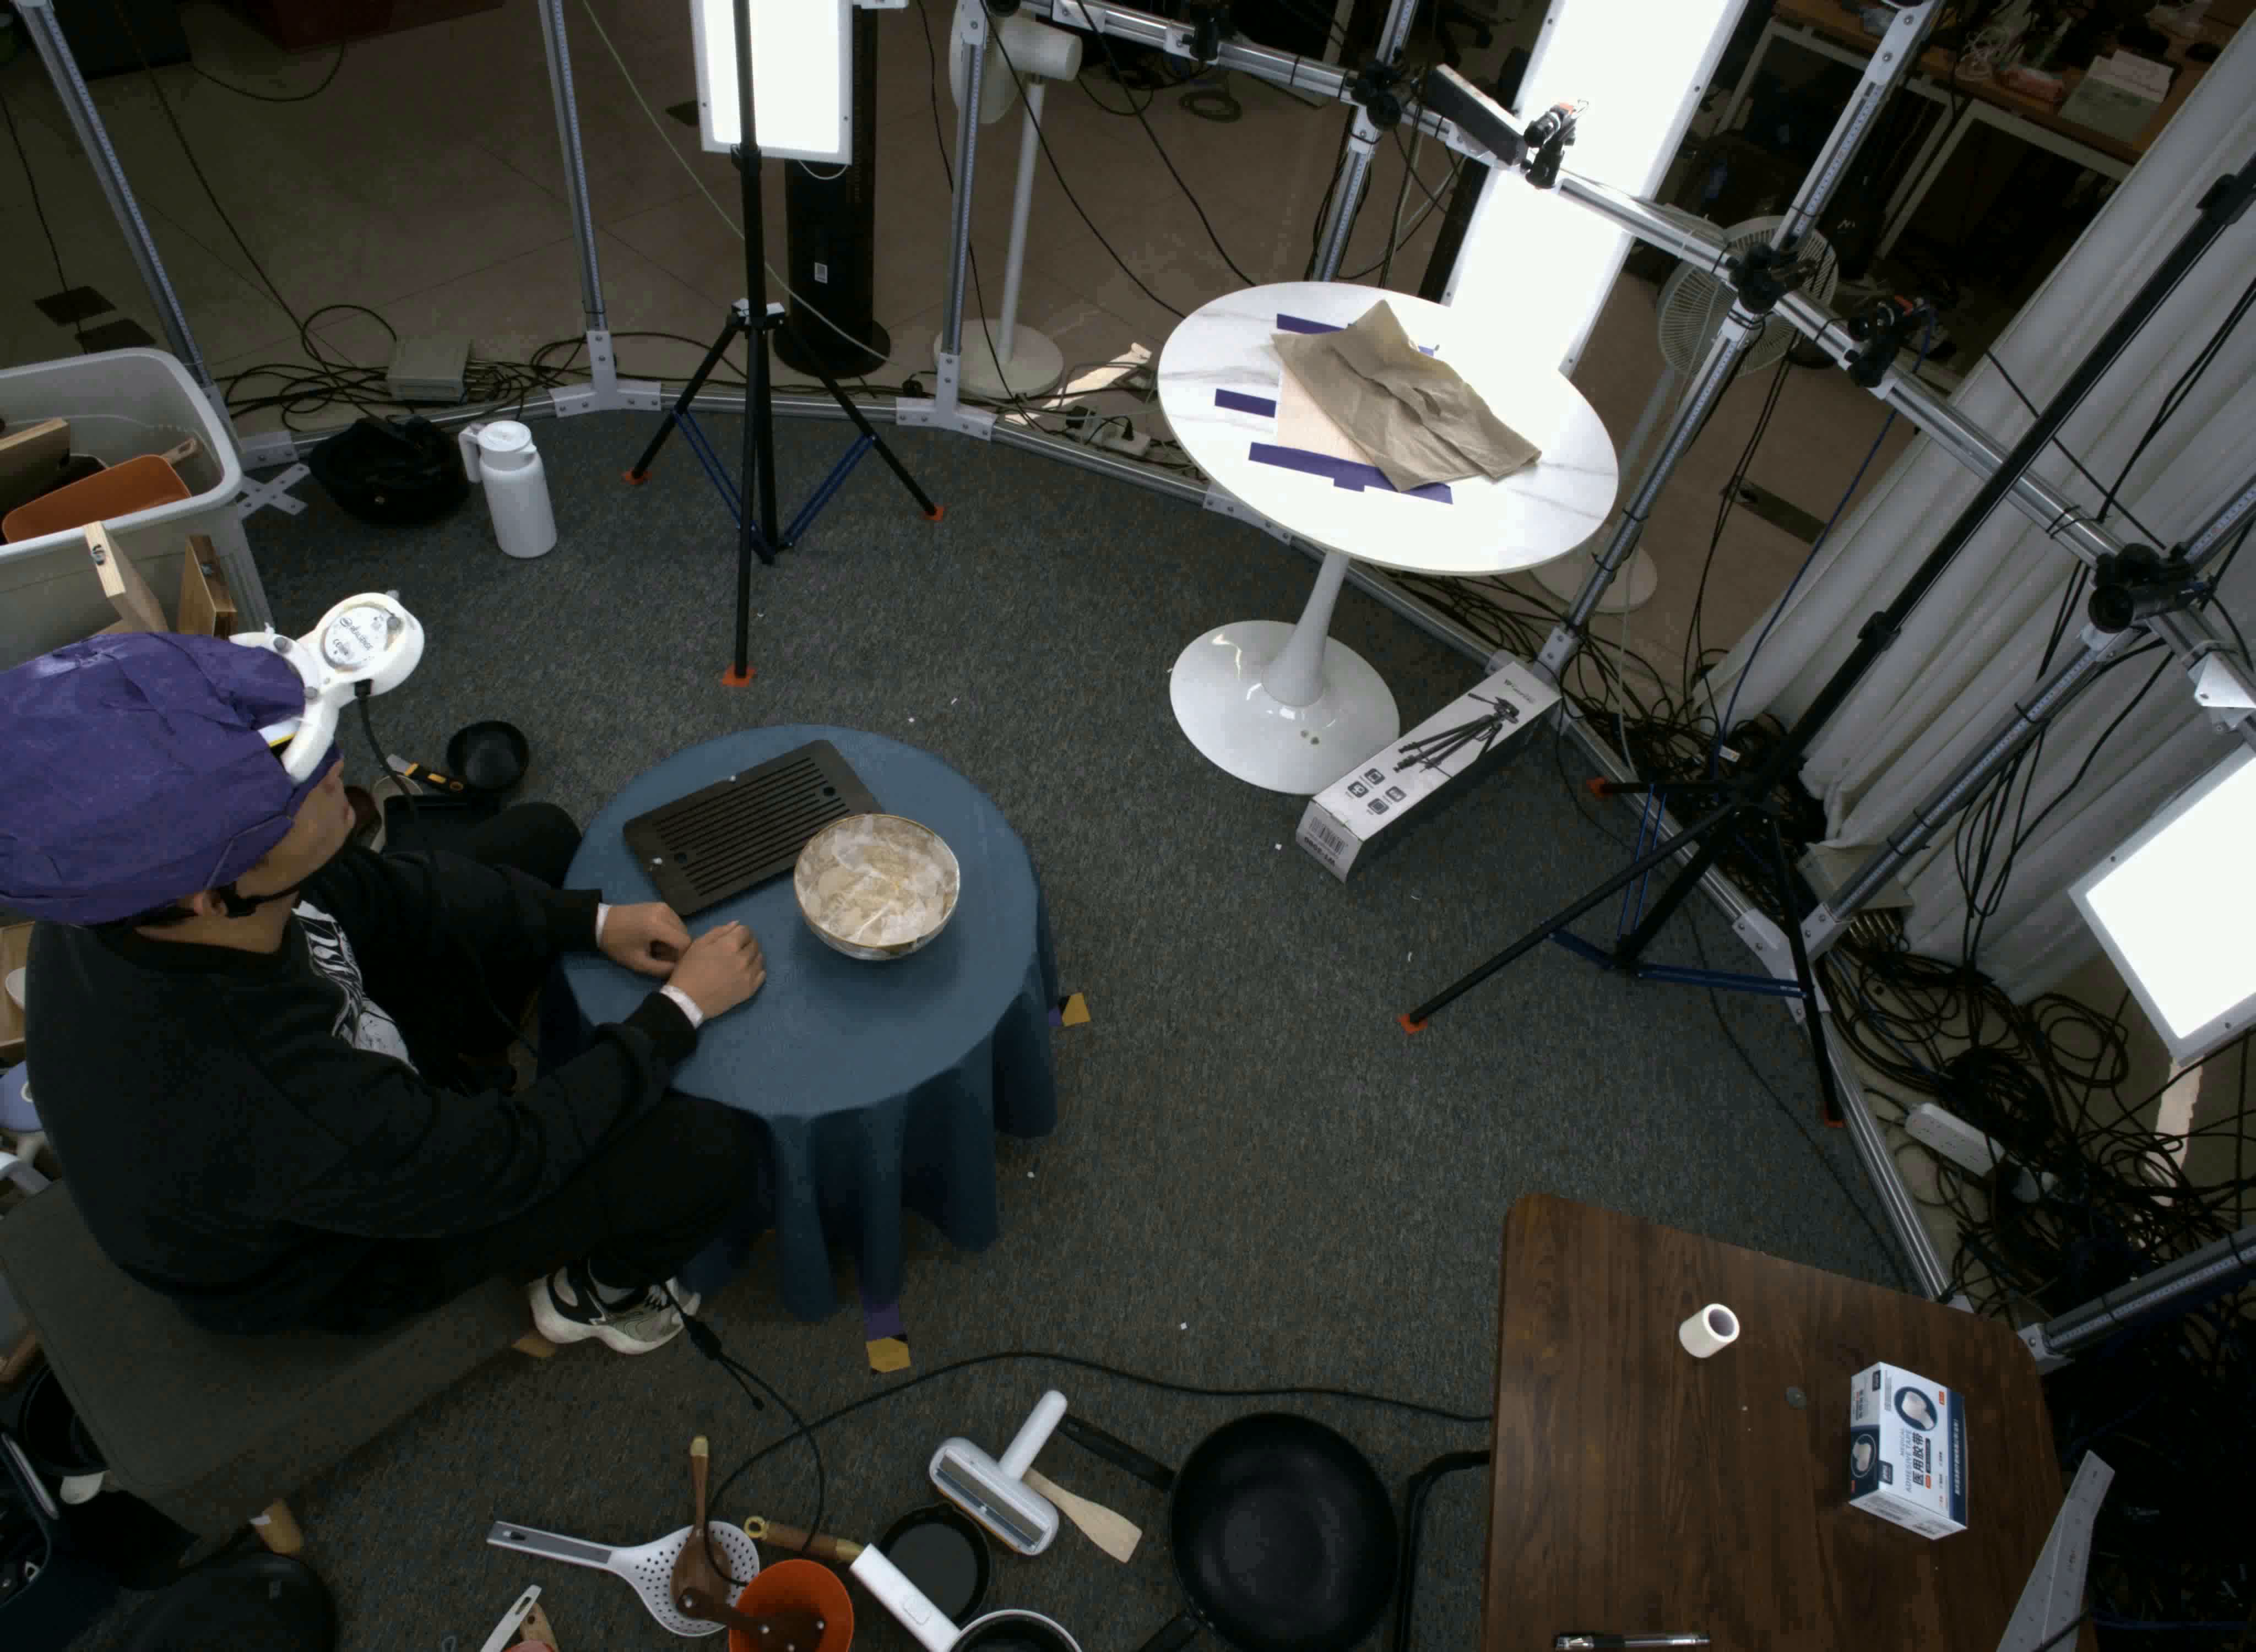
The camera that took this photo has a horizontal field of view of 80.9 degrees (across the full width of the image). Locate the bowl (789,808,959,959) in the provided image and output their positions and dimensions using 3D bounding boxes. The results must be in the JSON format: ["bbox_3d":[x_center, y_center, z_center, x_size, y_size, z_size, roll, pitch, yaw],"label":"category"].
[{"bbox_3d":[-0.319,0.085,1.632,0.214,0.096,0.211,8,54,-9],"label":"bowl"}]

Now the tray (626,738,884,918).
[{"bbox_3d":[-0.489,-0.003,1.703,0.307,0.019,0.166,-28,65,-30],"label":"tray"}]
